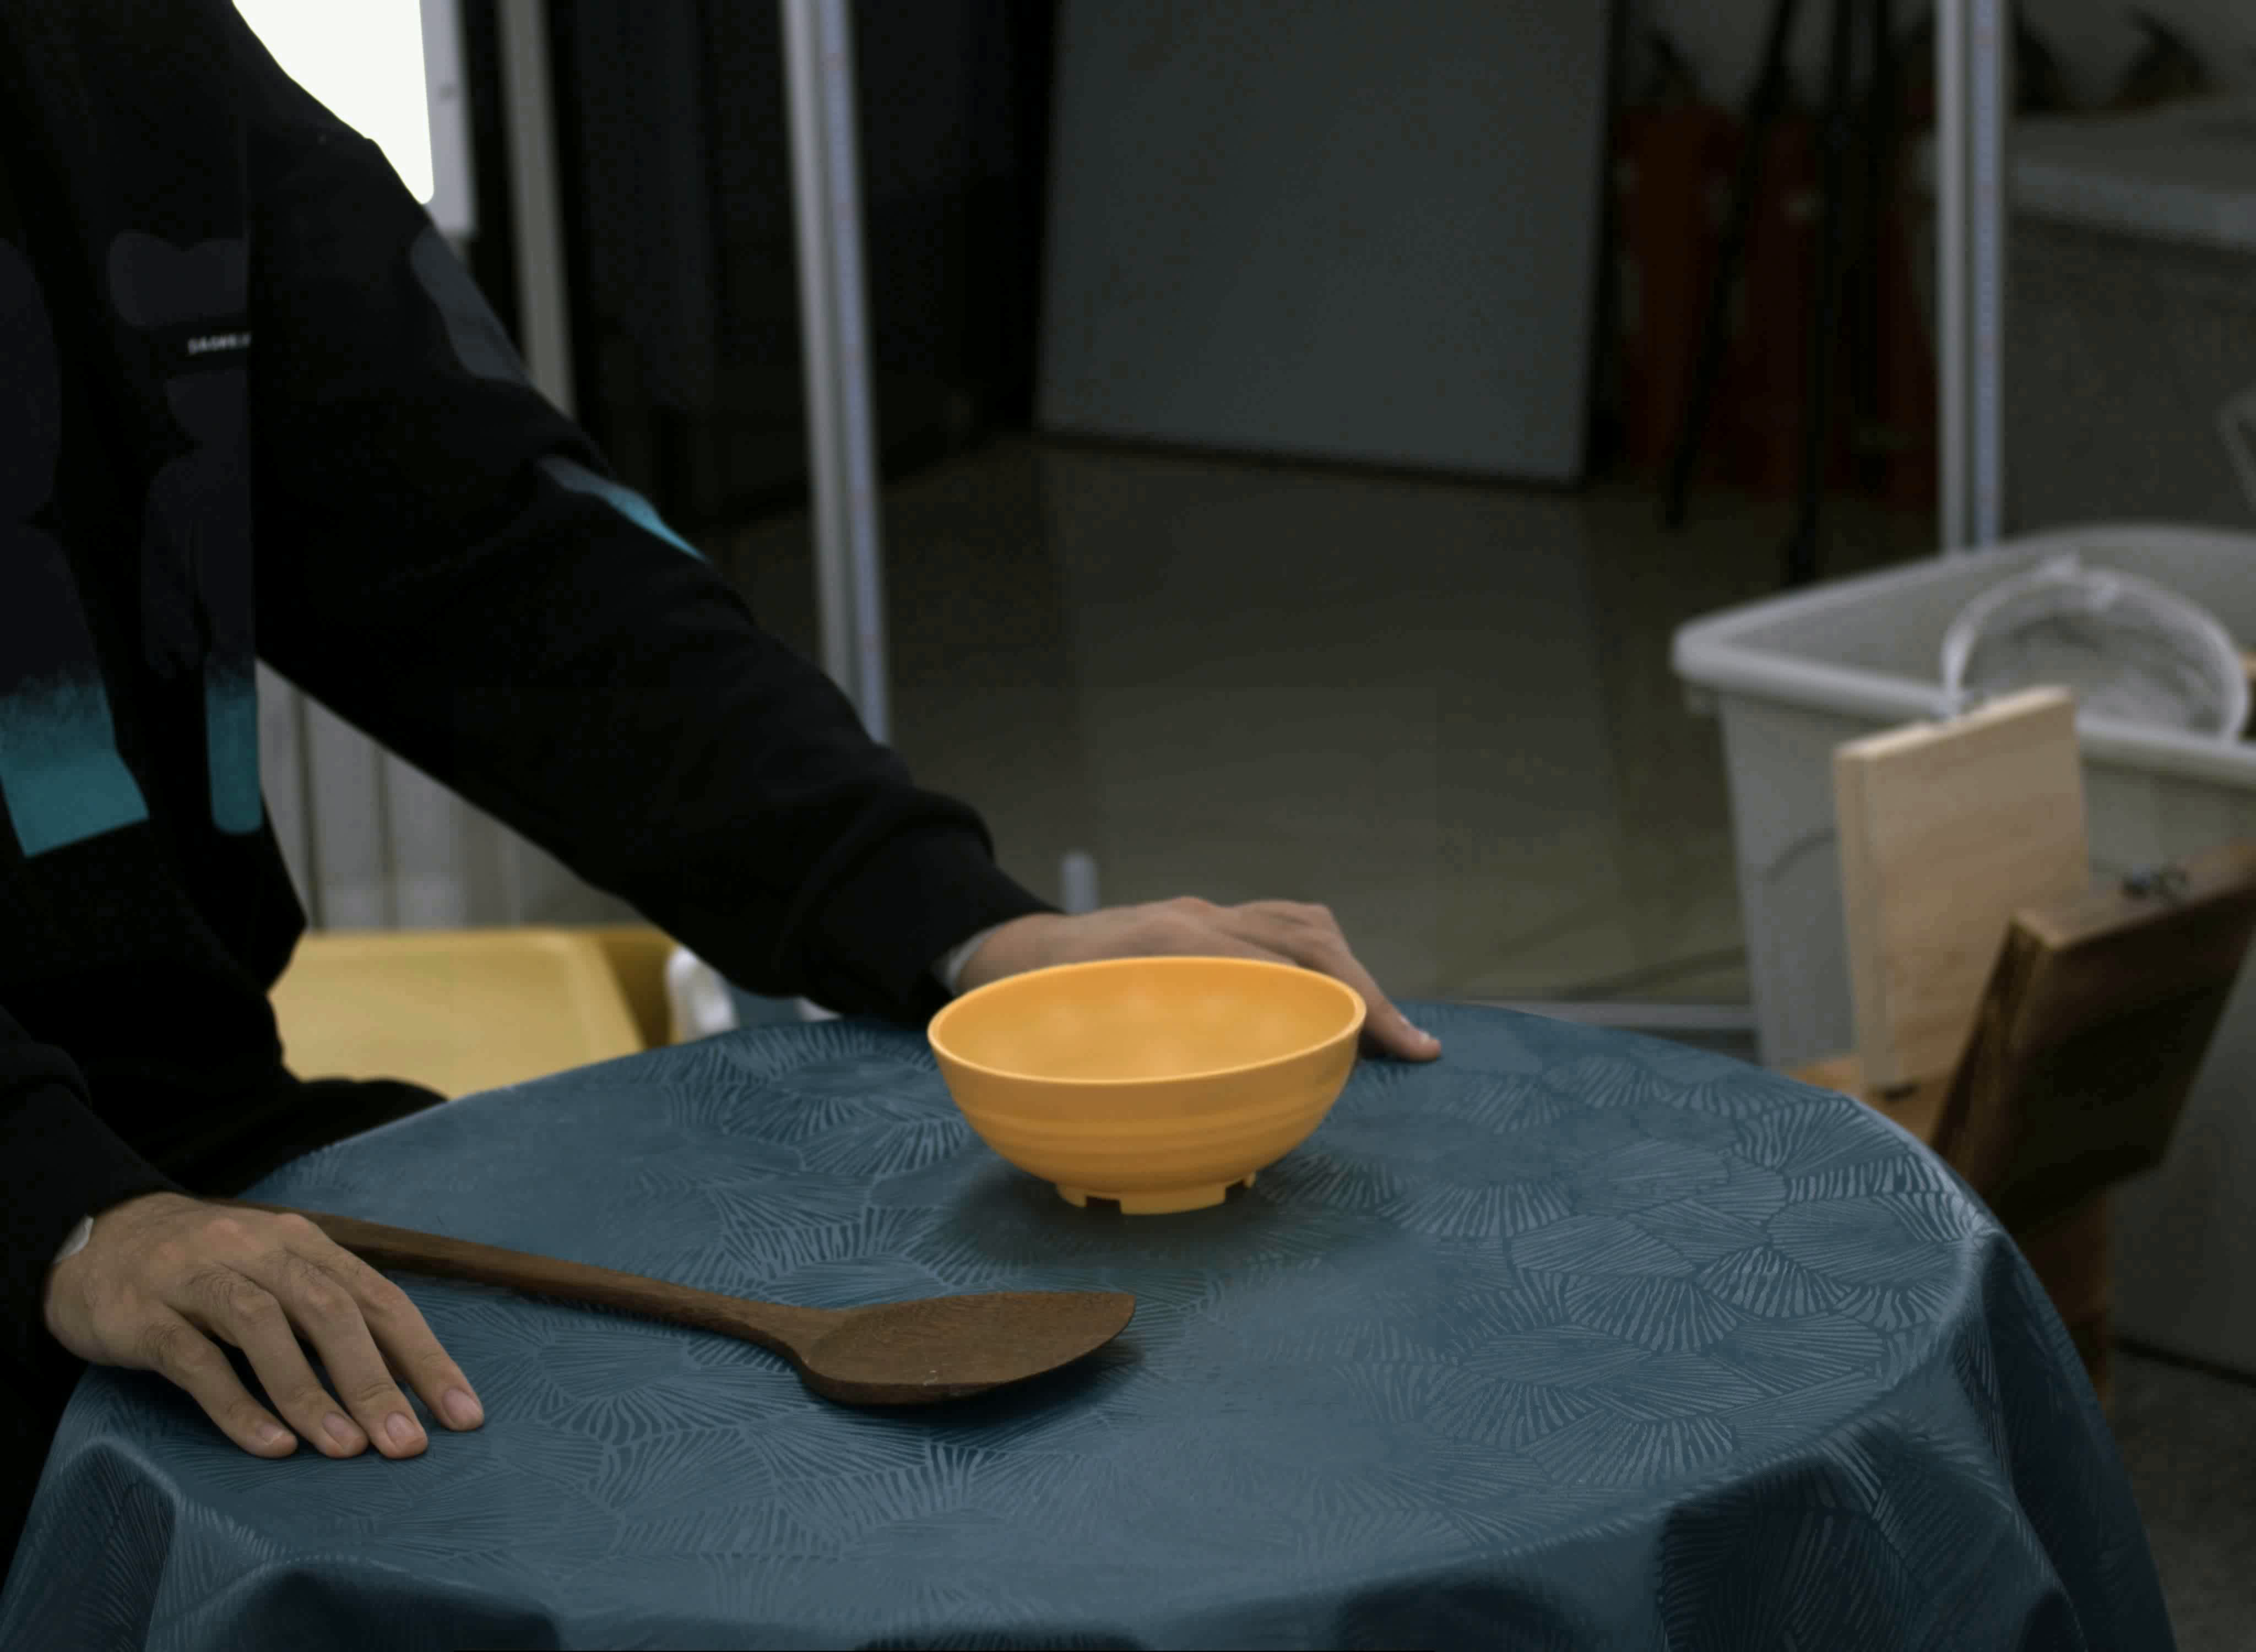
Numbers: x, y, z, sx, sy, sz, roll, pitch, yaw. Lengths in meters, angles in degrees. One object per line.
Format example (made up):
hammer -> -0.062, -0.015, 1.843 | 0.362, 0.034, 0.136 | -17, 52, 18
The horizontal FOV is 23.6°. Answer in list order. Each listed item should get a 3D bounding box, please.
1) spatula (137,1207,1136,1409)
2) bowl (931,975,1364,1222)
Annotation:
spatula -> -0.169, 0.146, 1.695 | 0.388, 0.016, 0.094 | 5, 16, 35
bowl -> 0.008, 0.093, 1.768 | 0.143, 0.061, 0.145 | -4, 11, 0
